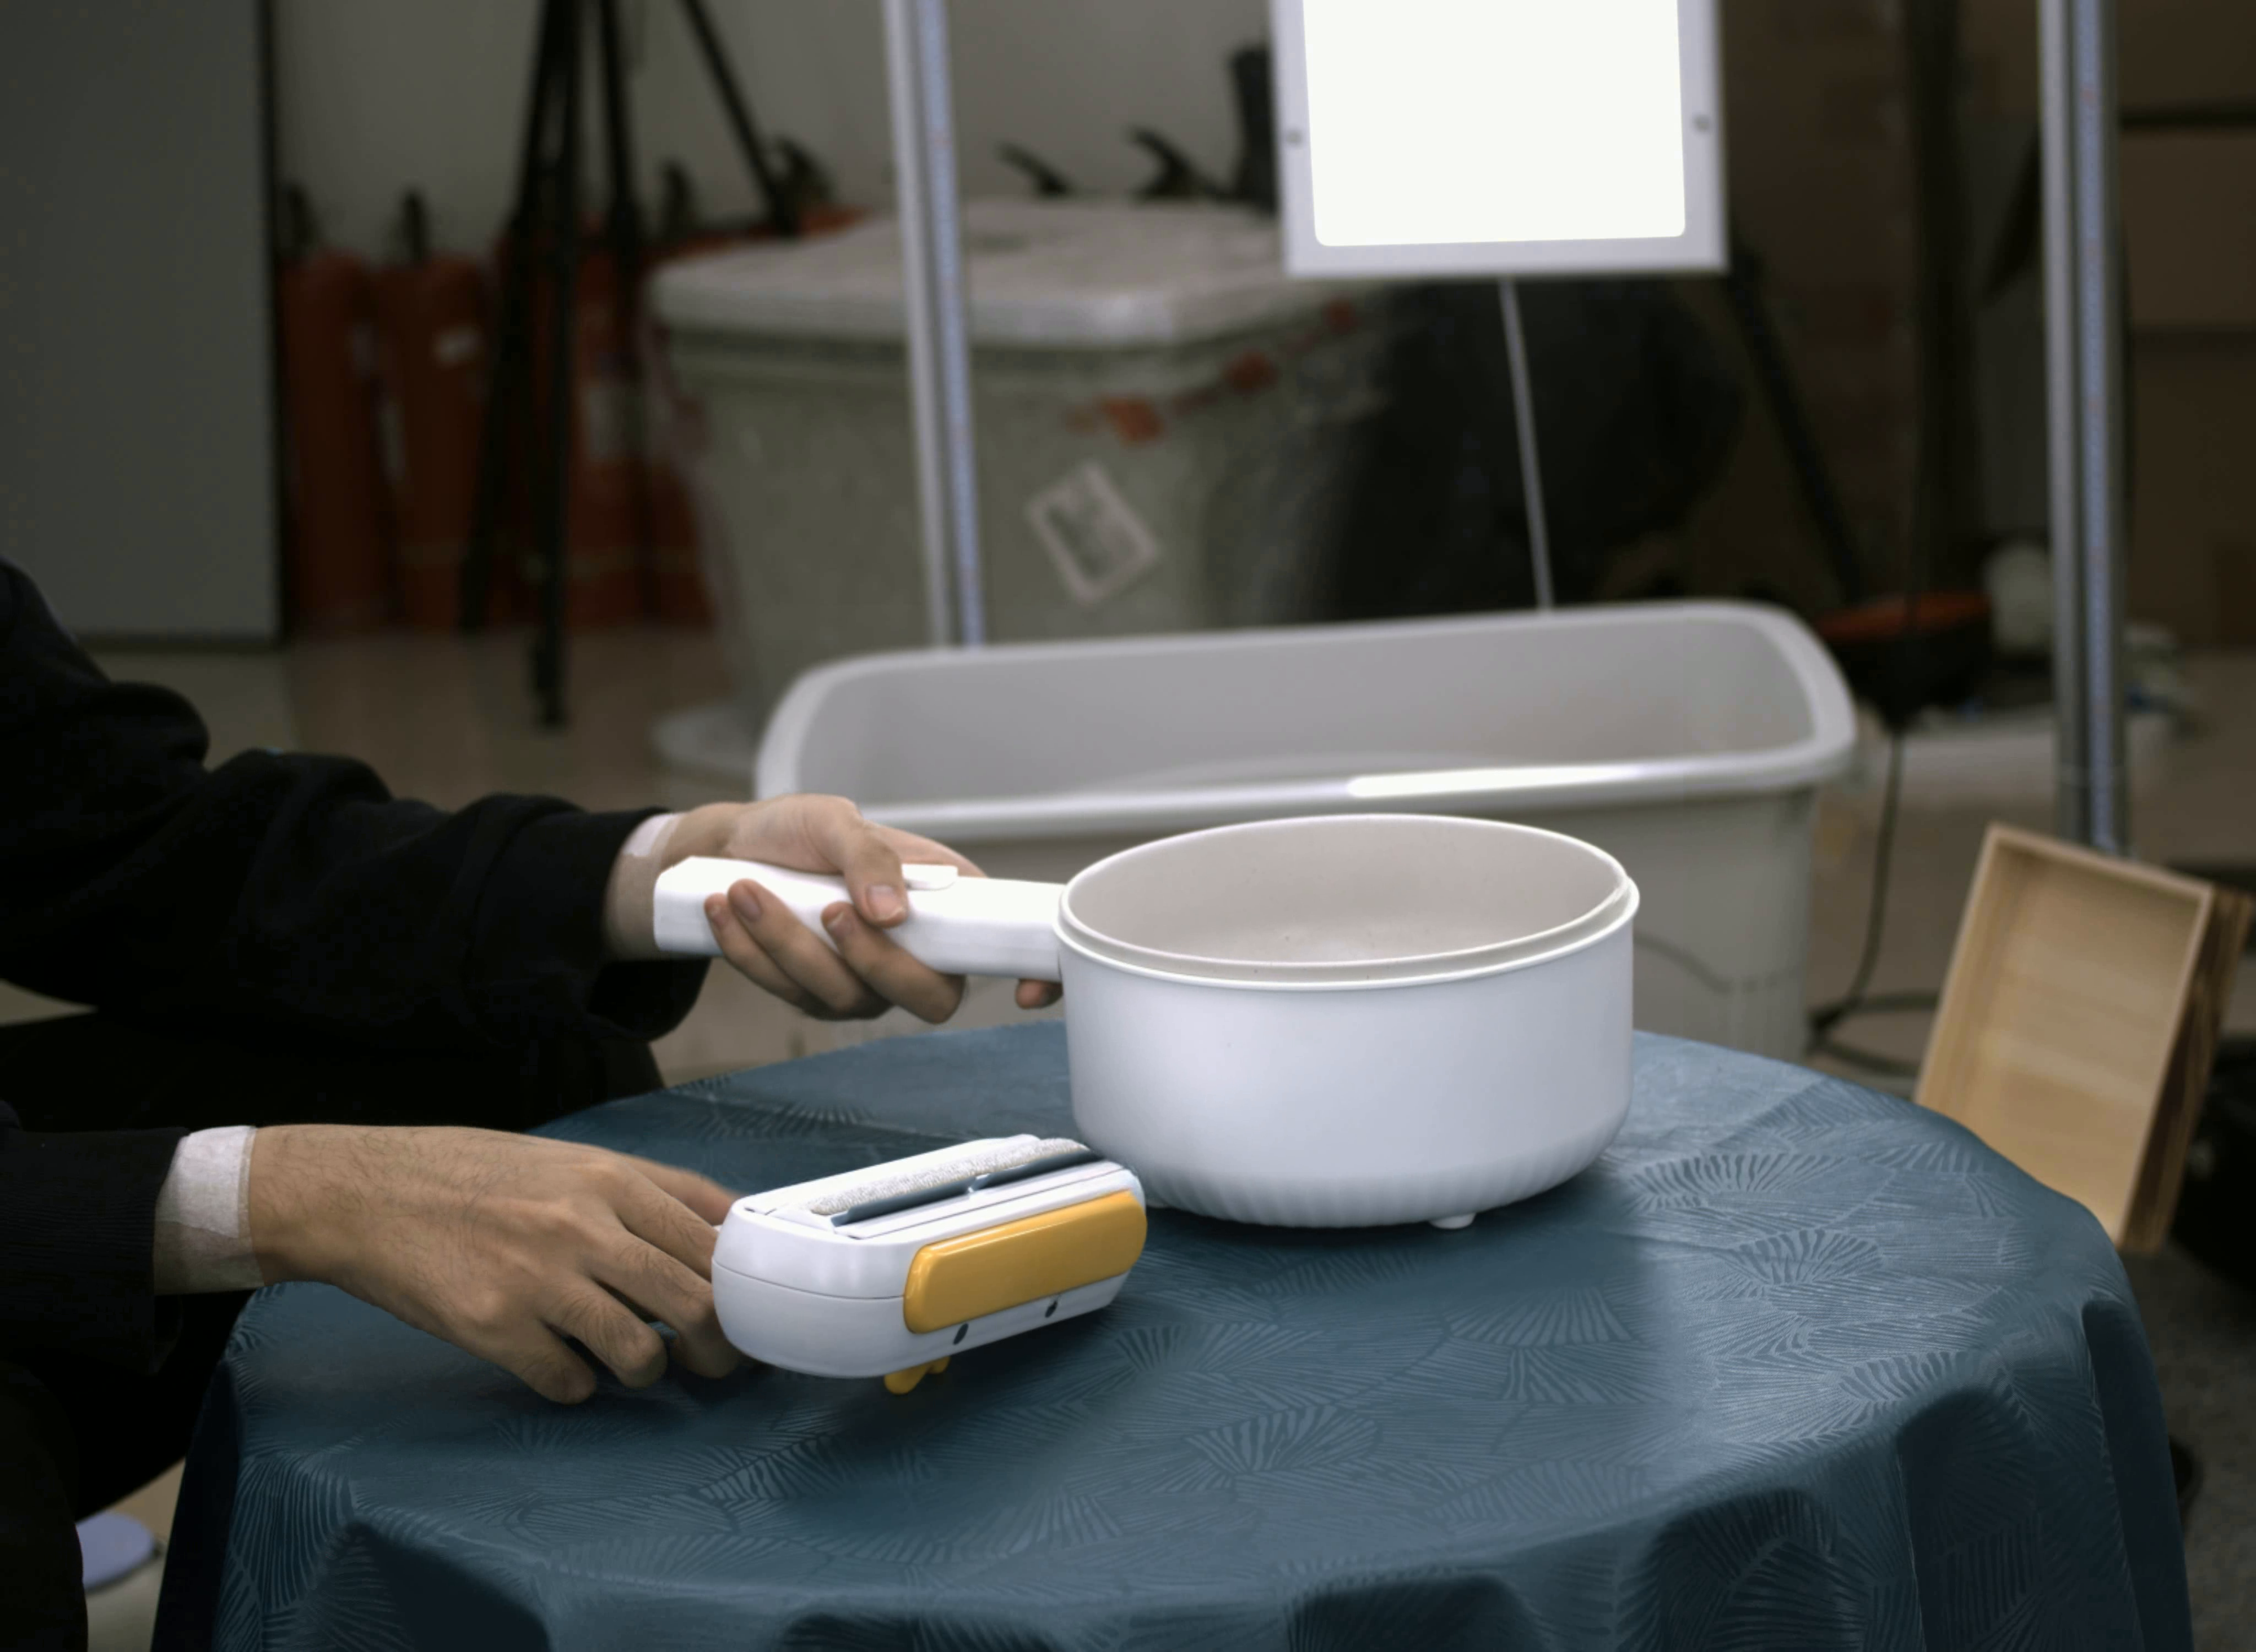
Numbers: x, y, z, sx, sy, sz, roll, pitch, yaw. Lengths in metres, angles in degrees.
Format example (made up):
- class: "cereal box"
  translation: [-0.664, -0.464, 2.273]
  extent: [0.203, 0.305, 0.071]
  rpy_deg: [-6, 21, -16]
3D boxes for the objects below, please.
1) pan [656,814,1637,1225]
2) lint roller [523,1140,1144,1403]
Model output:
- class: "pan"
  translation: [0.004, 0.066, 1.912]
  extent: [0.360, 0.102, 0.197]
  rpy_deg: [2, 15, 23]
- class: "lint roller"
  translation: [-0.113, 0.139, 1.746]
  extent: [0.196, 0.074, 0.188]
  rpy_deg: [2, 10, 34]
